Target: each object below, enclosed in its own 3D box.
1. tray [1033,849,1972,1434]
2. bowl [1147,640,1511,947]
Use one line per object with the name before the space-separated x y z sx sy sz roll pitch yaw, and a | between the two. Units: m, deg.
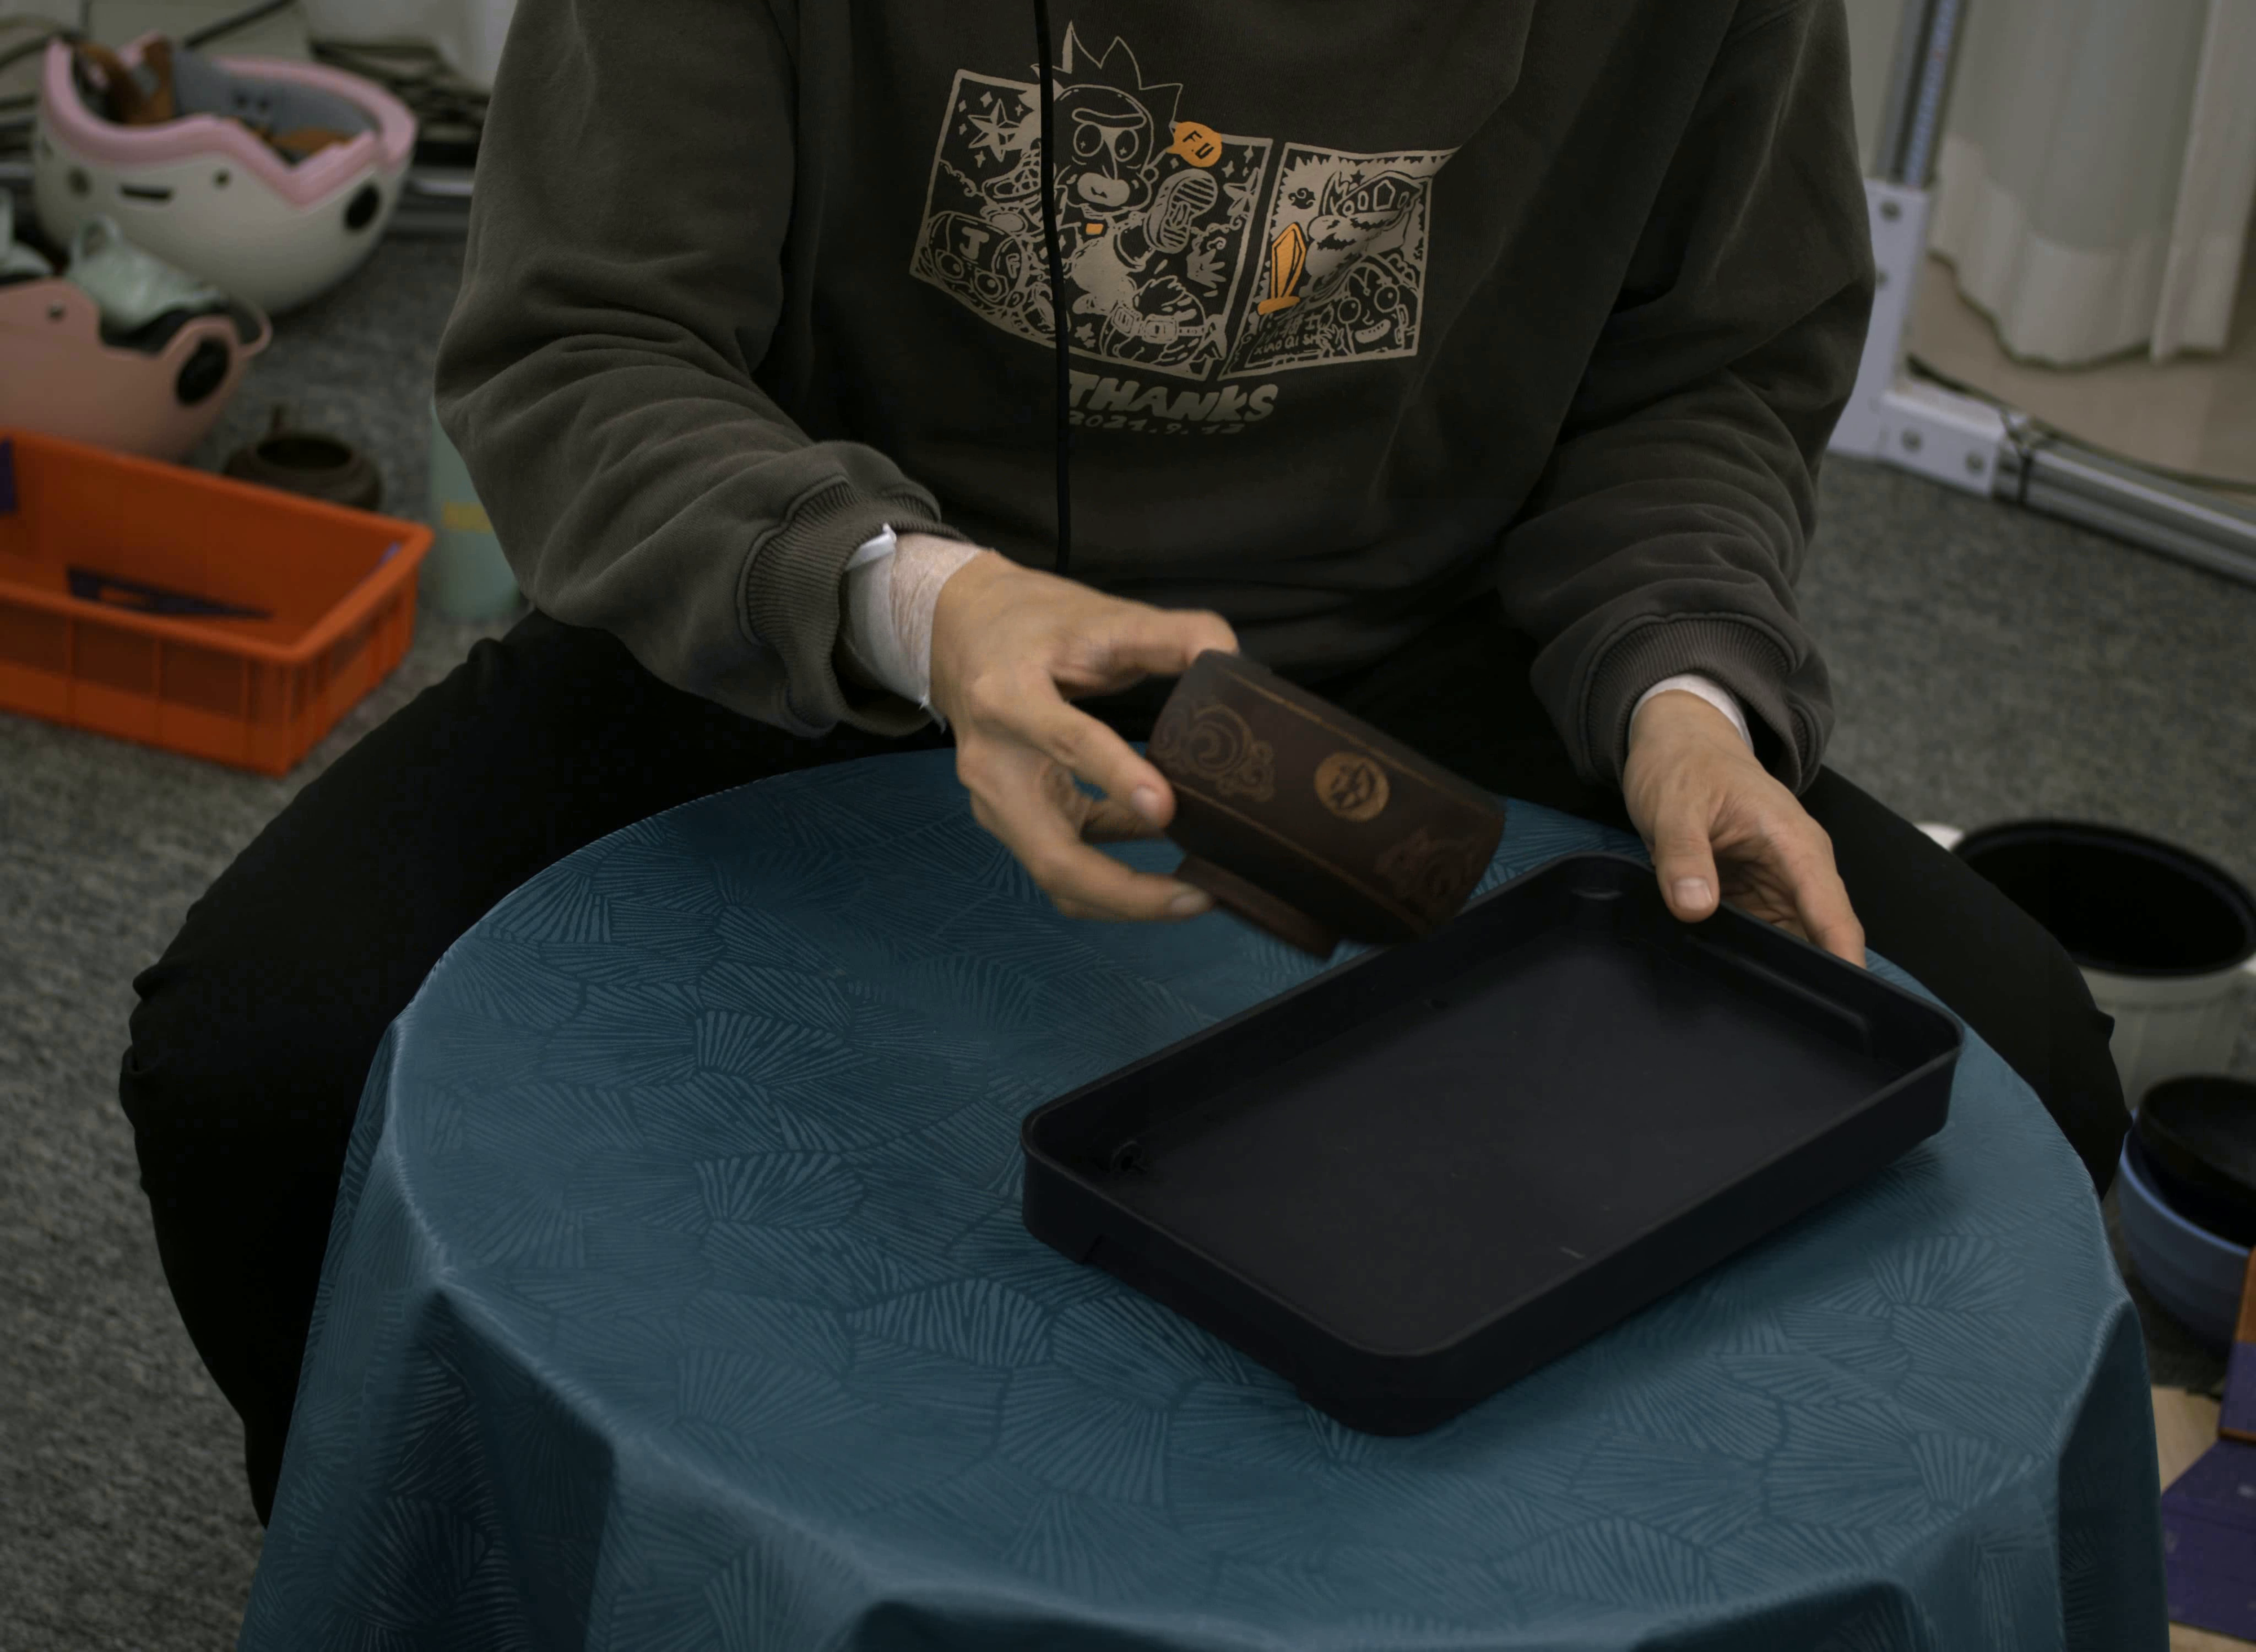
tray | 0.131 0.101 1.825 0.185 0.037 0.317 26 35 35
bowl | 0.058 -0.004 1.722 0.118 0.070 0.118 27 -5 2
